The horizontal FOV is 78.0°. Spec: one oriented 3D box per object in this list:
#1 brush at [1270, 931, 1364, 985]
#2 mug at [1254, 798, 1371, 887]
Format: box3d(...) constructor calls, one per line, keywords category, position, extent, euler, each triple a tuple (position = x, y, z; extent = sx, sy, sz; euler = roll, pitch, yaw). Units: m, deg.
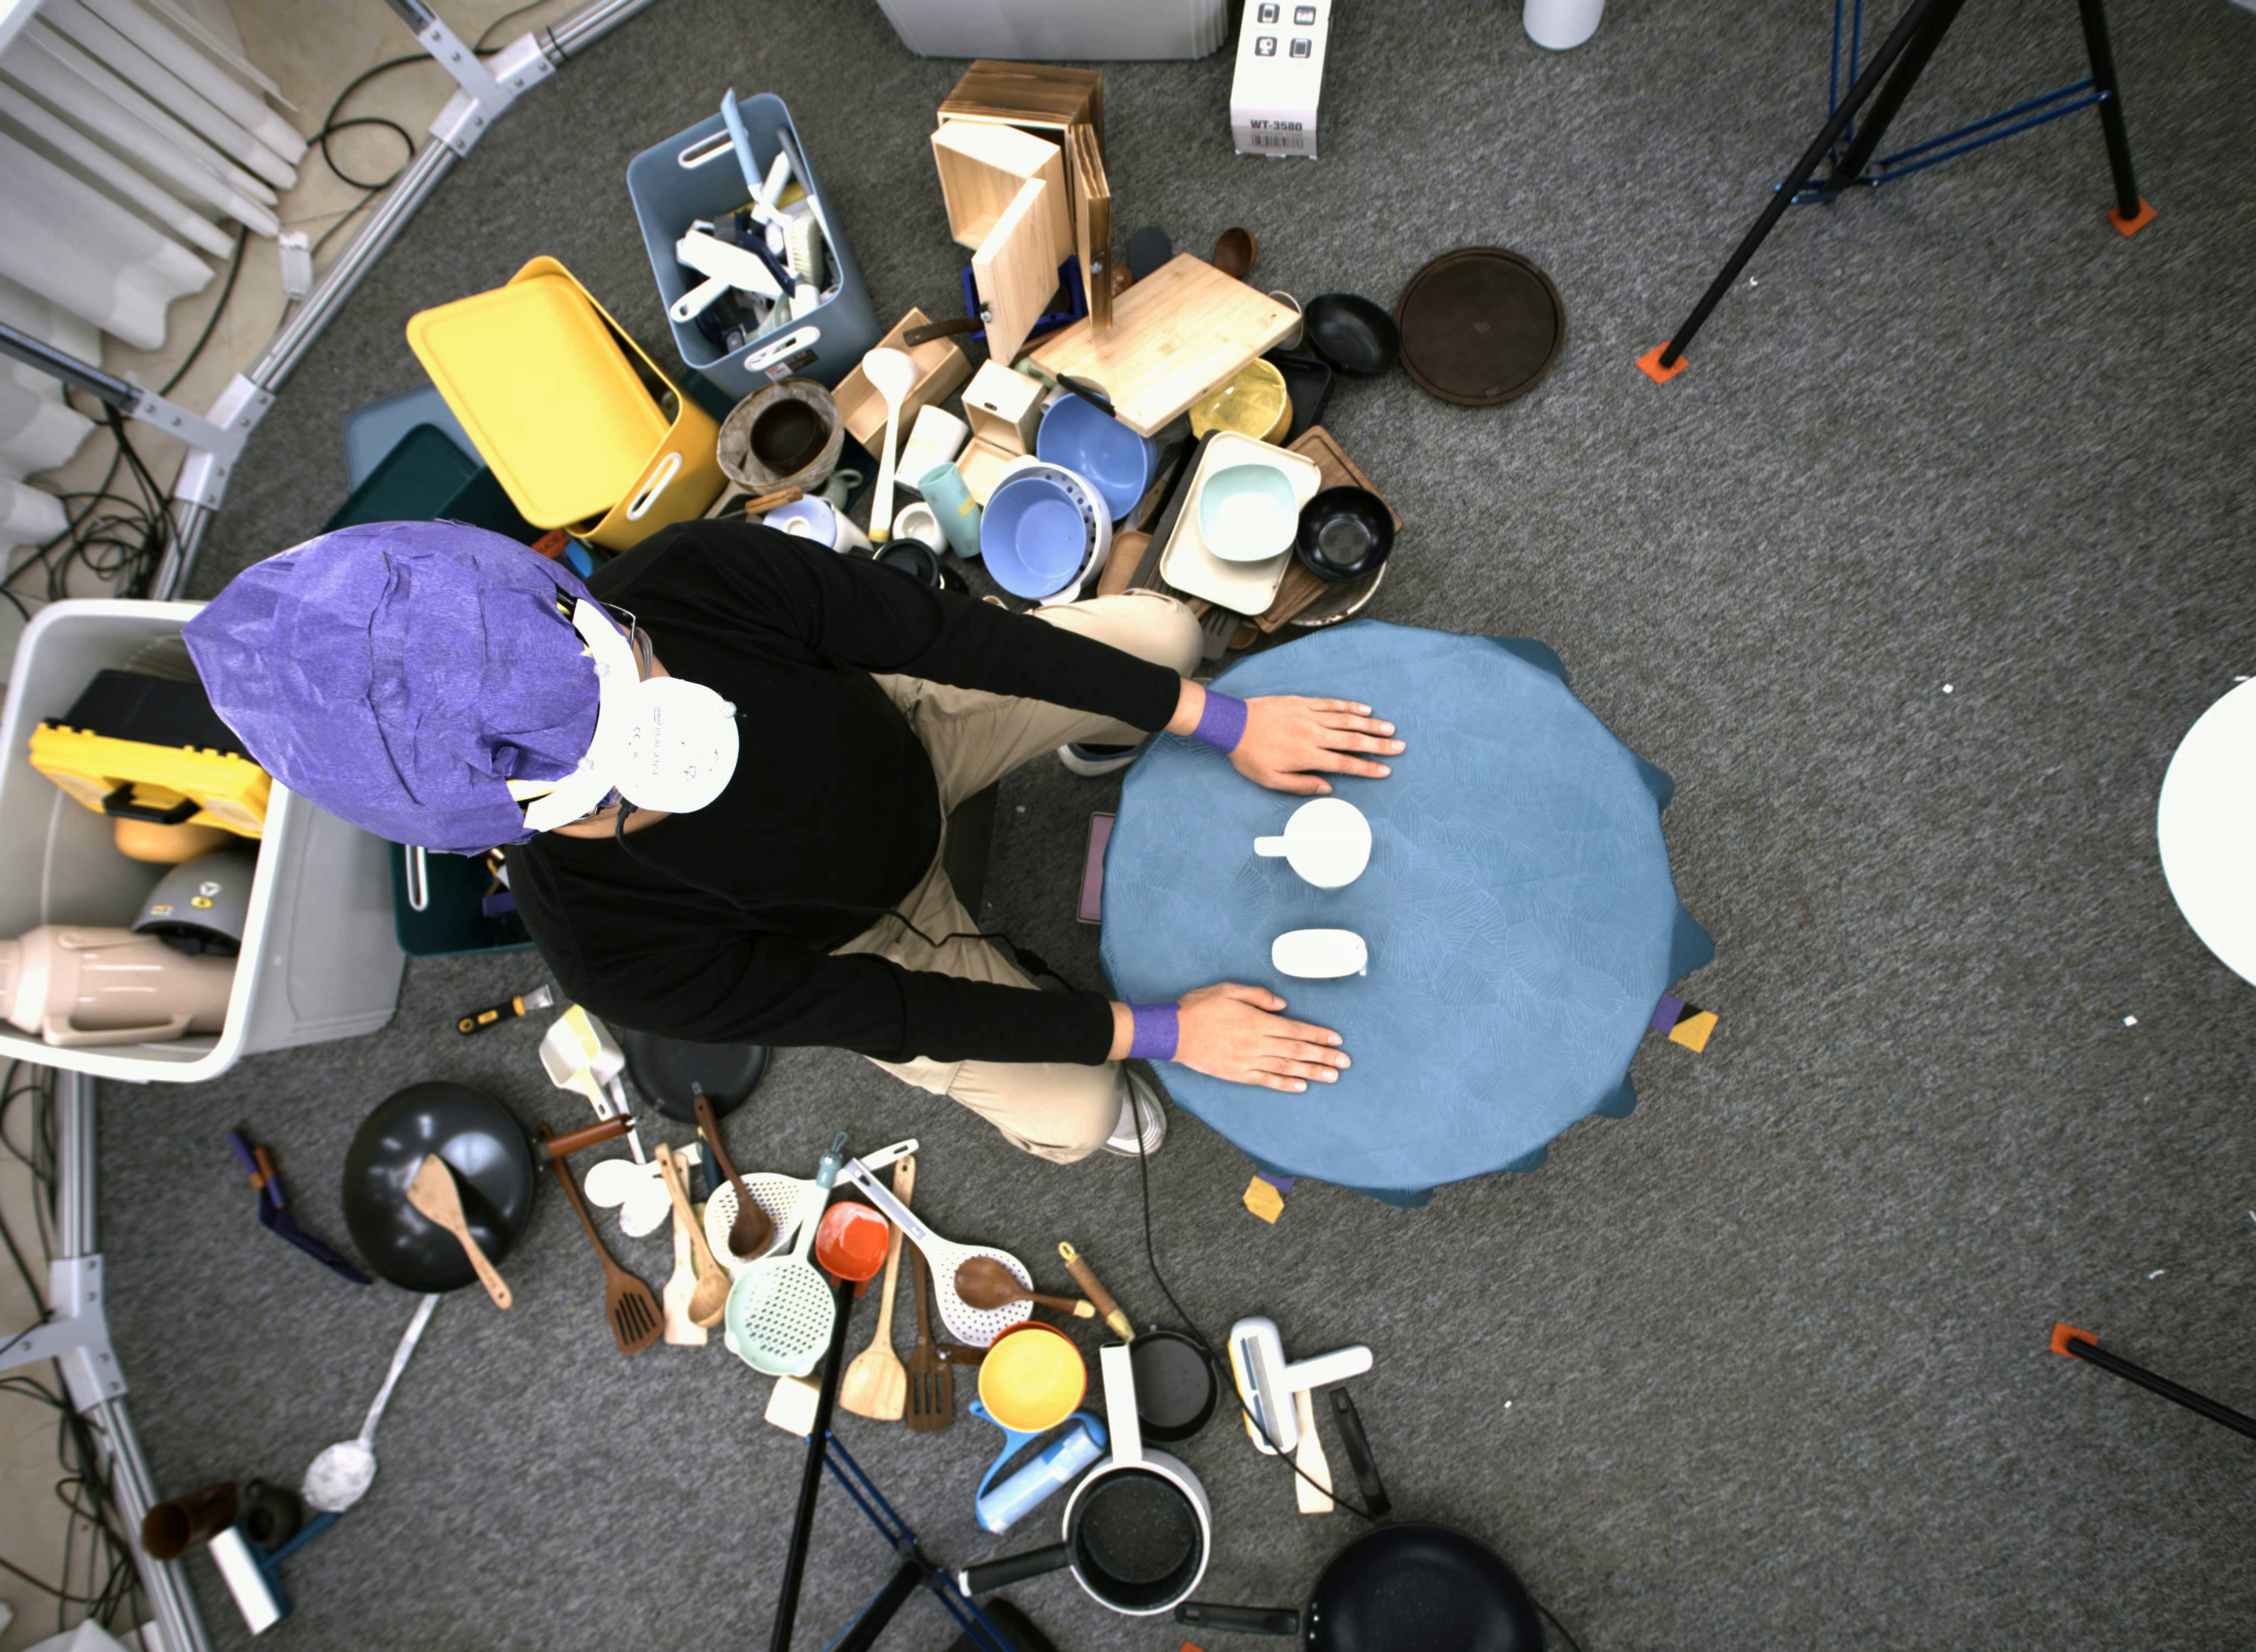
box3d(category="brush", position=(0.196, 0.134, 1.431), extent=(0.099, 0.073, 0.050), euler=(-8, 79, 5))
box3d(category="mug", position=(0.190, 0.019, 1.423), extent=(0.119, 0.102, 0.084), euler=(-3, 85, 10))
